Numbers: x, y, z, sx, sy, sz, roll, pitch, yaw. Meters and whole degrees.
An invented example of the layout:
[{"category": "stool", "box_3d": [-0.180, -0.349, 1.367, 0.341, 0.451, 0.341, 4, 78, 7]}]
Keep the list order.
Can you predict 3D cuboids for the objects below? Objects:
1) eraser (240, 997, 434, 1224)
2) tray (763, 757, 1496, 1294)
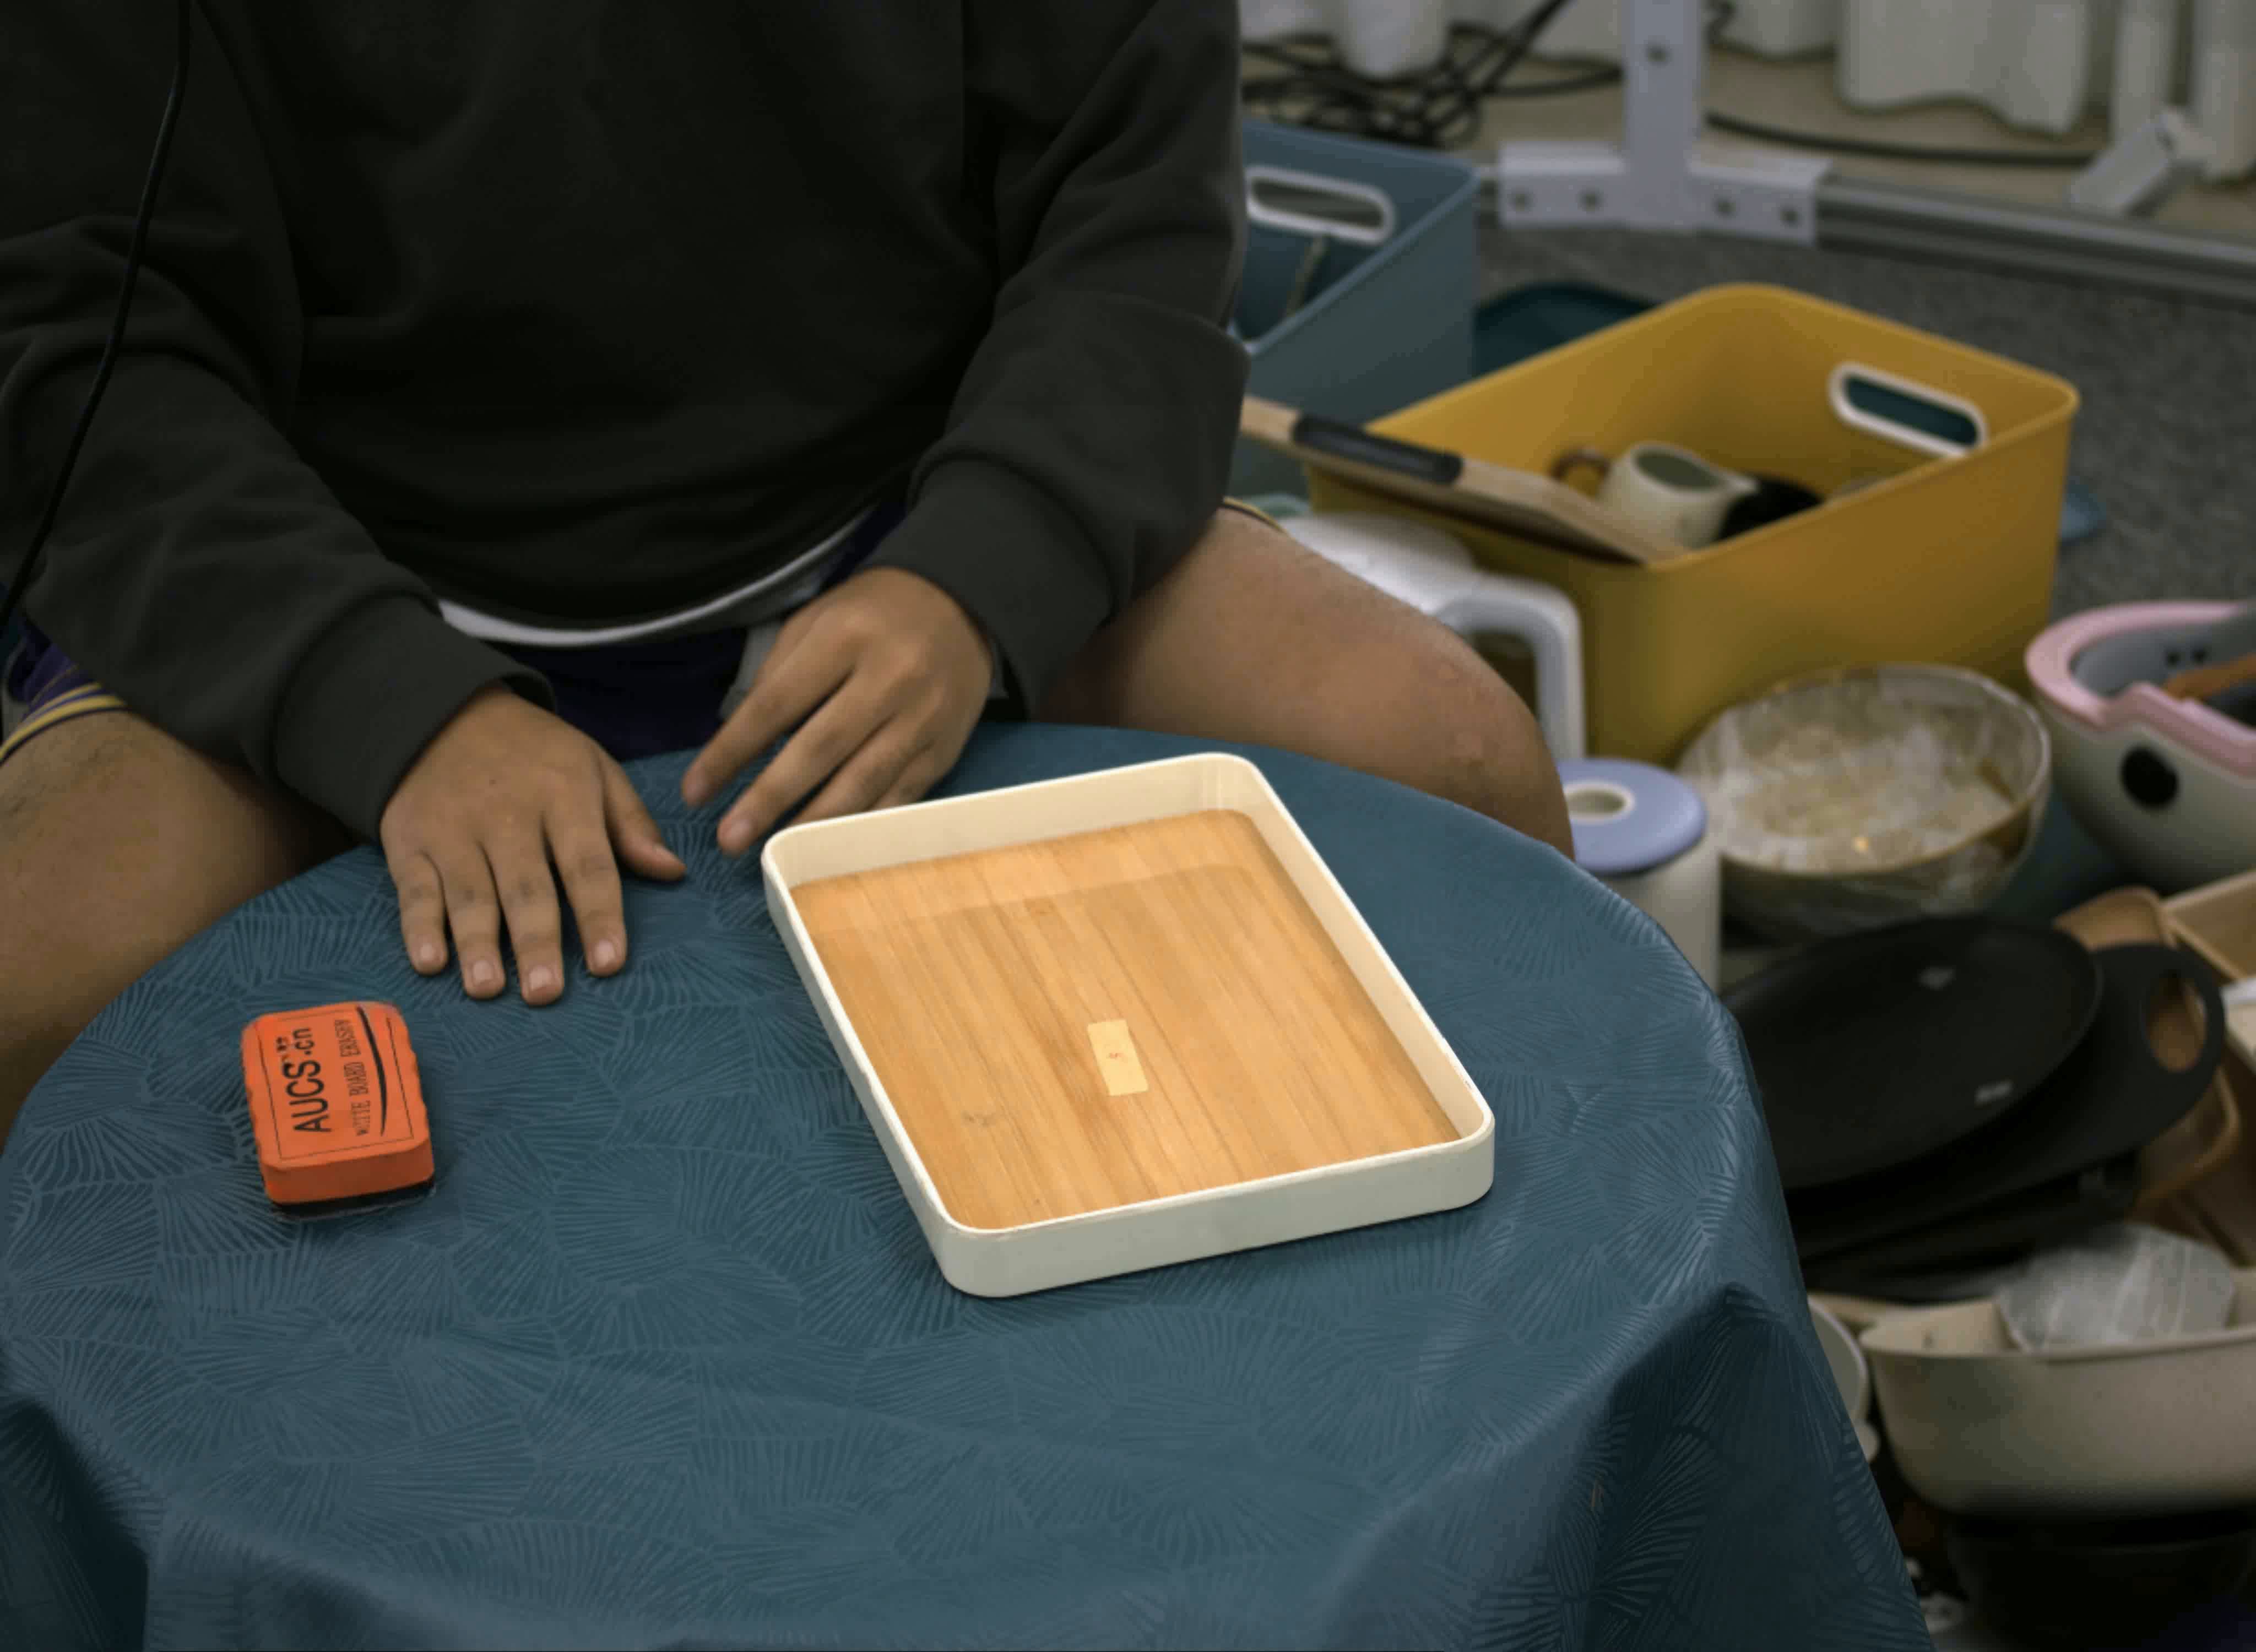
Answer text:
[{"category": "eraser", "box_3d": [-0.270, 0.097, 1.911, 0.059, 0.022, 0.109, -8, 28, -10]}, {"category": "tray", "box_3d": [-0.005, 0.064, 1.946, 0.191, 0.027, 0.303, -9, 28, -13]}]
